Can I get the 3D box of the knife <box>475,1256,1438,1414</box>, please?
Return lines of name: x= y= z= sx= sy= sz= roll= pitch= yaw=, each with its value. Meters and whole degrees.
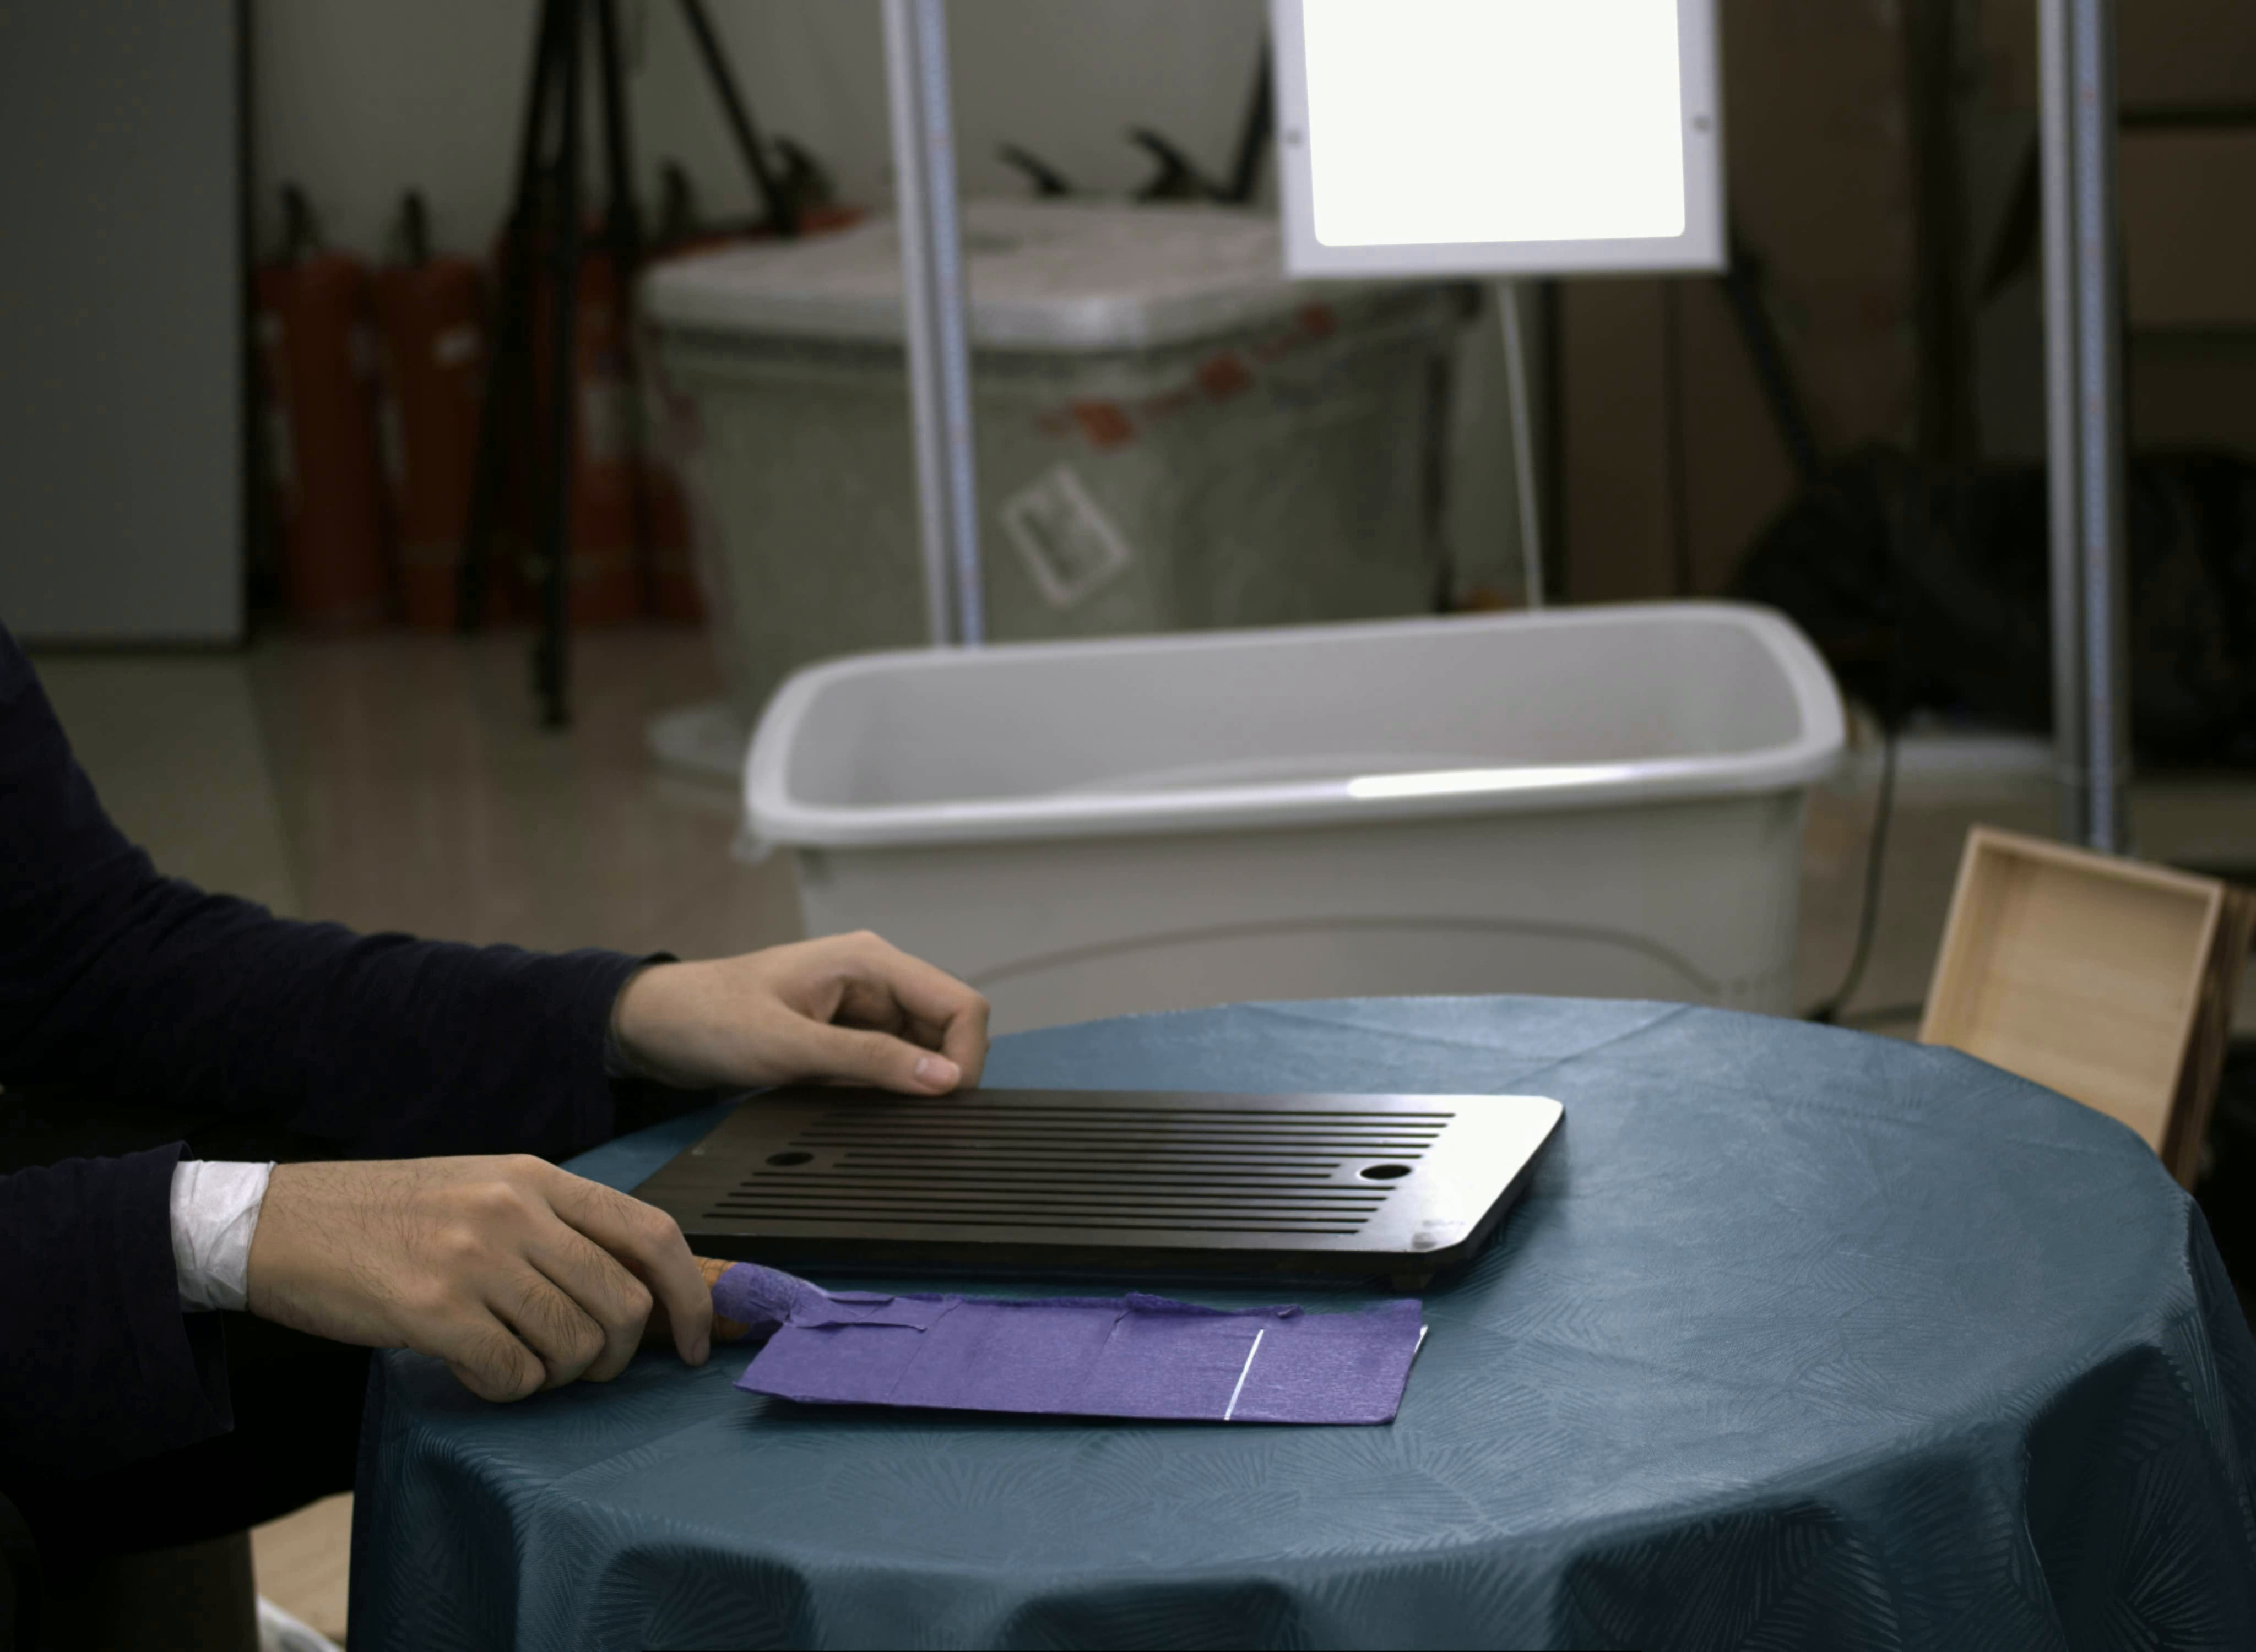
knife: x=-0.062 y=0.160 z=1.732 sx=0.318 sy=0.032 sz=0.102 roll=-1 pitch=14 yaw=14

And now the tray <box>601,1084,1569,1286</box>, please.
tray: x=-0.013 y=0.122 z=1.890 sx=0.310 sy=0.019 sz=0.167 roll=-1 pitch=15 yaw=20
